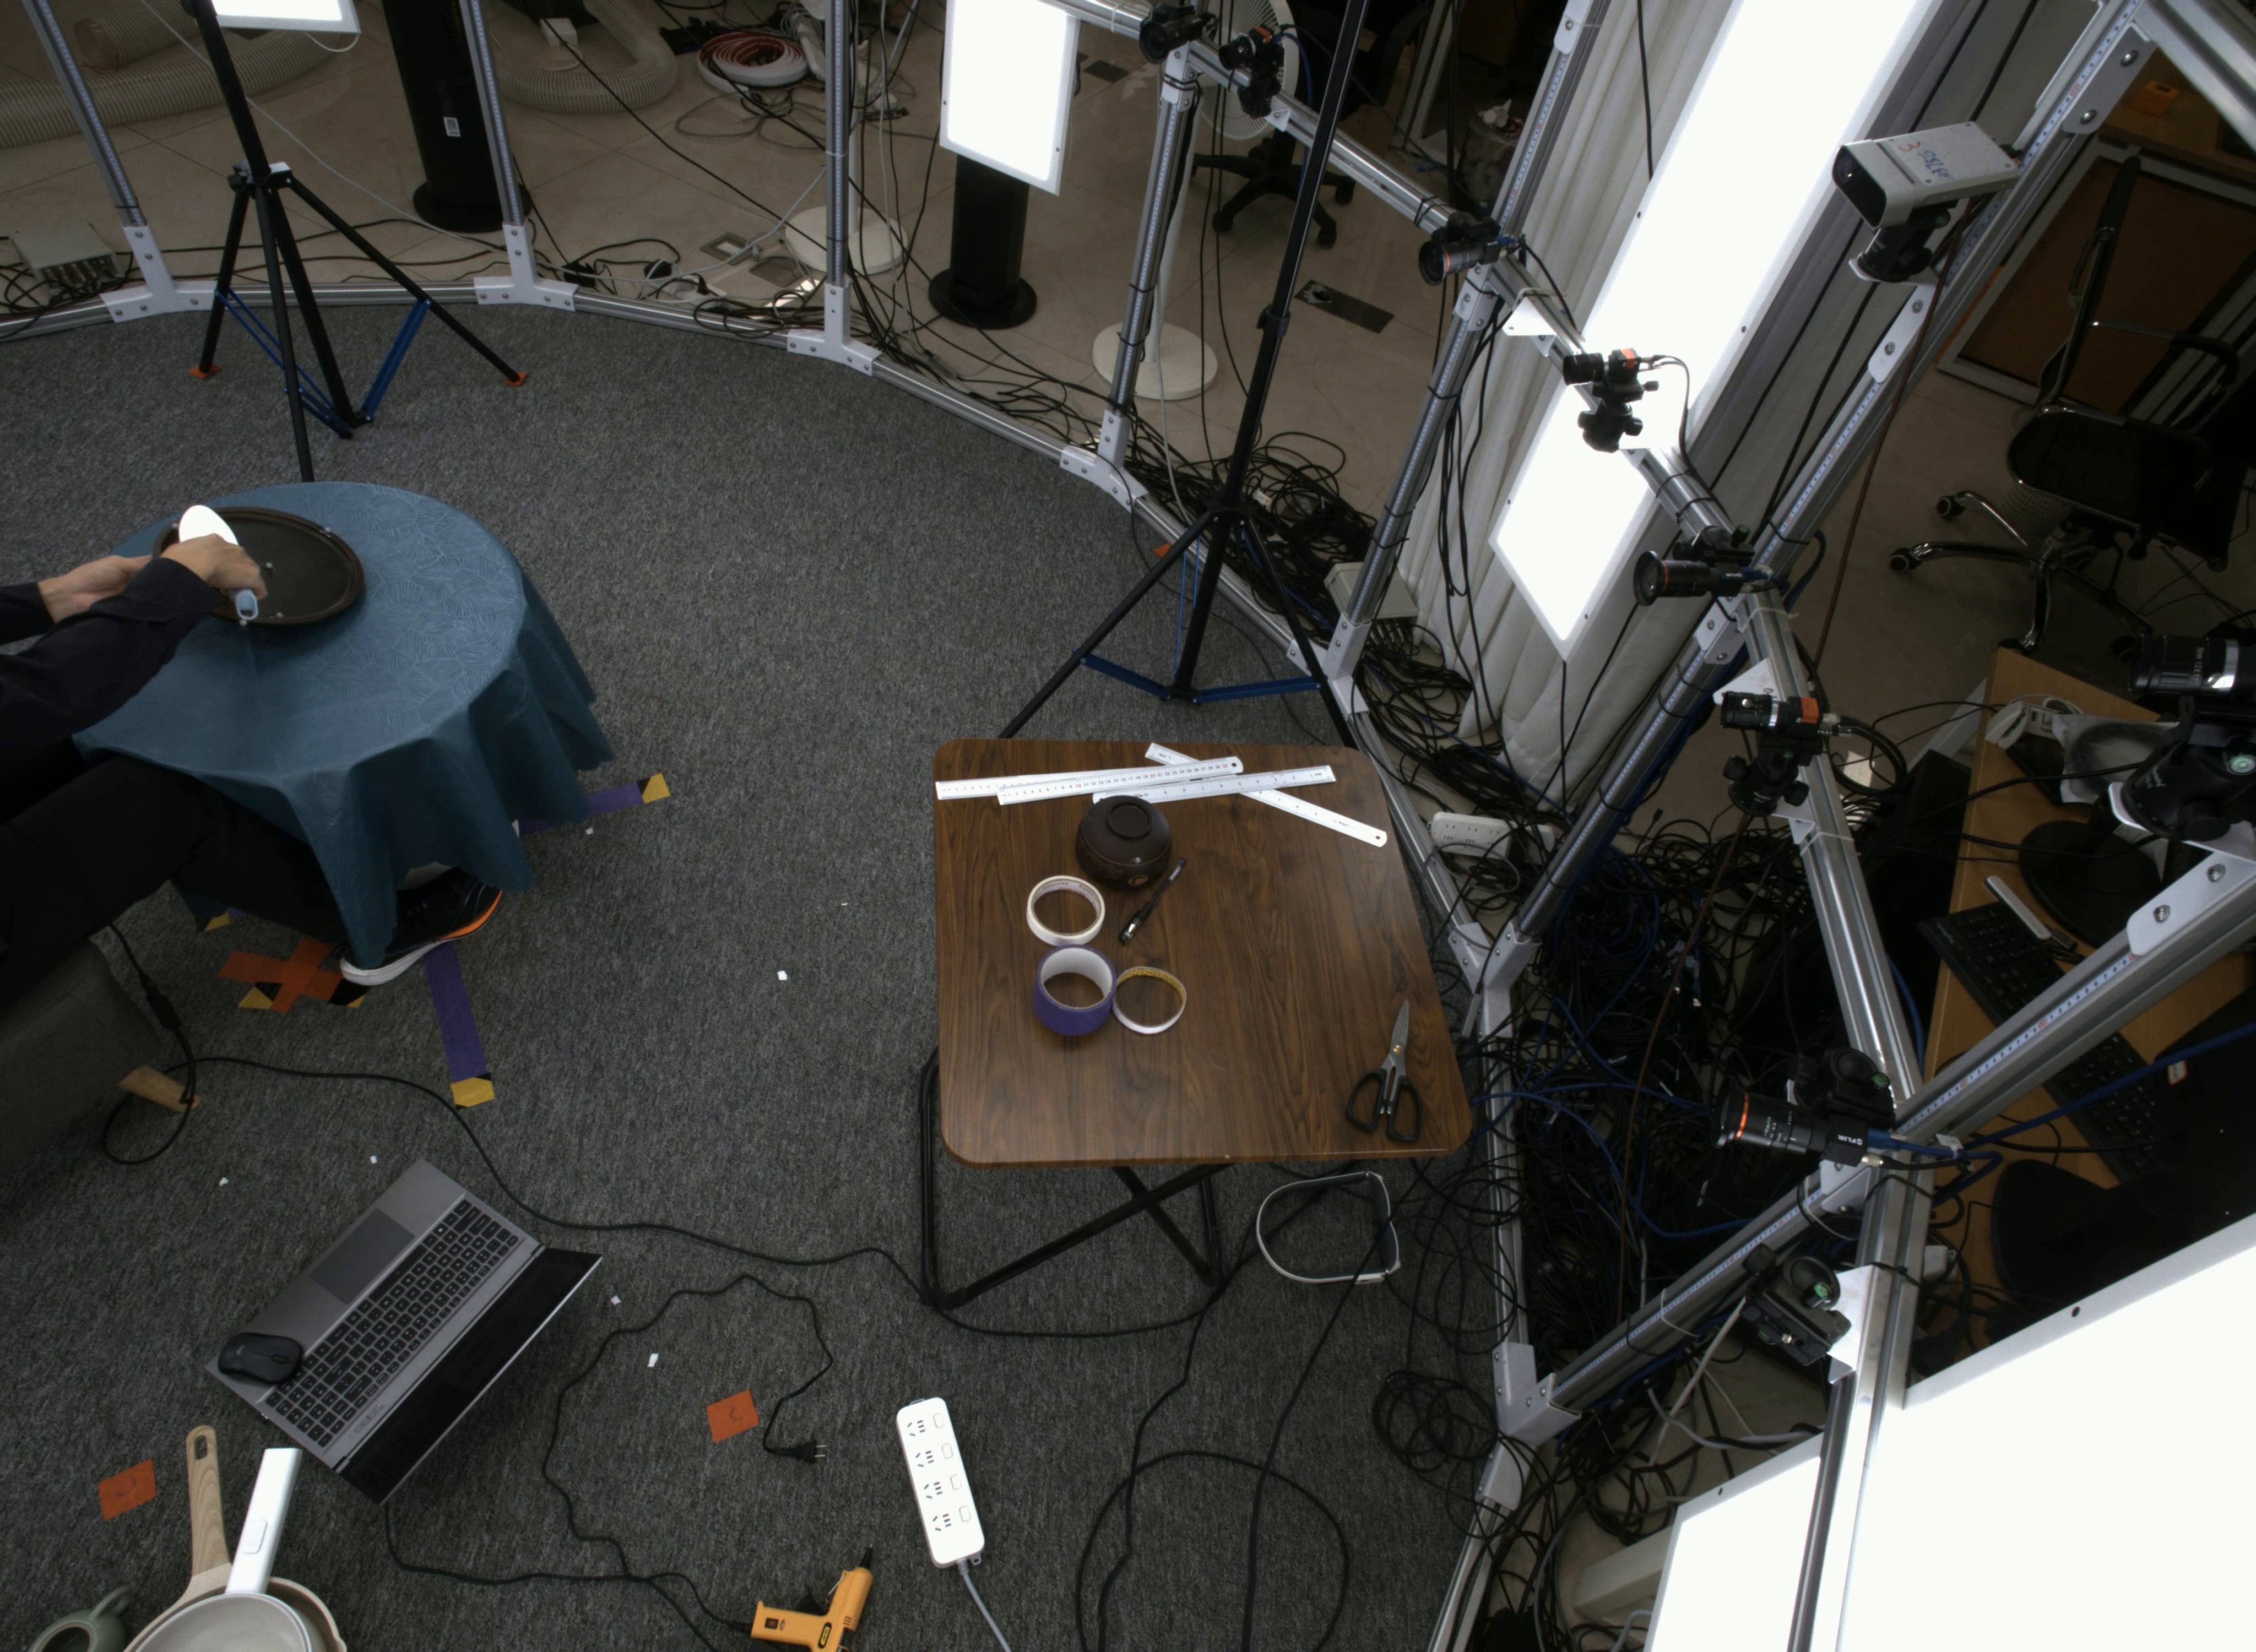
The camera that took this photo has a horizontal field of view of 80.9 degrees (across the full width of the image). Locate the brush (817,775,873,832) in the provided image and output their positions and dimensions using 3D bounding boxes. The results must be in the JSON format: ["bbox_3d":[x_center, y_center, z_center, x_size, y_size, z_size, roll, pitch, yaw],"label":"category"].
[{"bbox_3d":[-0.445,-0.021,1.988,0.082,0.086,0.320,-13,11,-2],"label":"brush"}]

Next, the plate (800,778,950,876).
[{"bbox_3d":[-0.409,0.002,2.101,0.256,0.029,0.250,25,24,-10],"label":"plate"}]
